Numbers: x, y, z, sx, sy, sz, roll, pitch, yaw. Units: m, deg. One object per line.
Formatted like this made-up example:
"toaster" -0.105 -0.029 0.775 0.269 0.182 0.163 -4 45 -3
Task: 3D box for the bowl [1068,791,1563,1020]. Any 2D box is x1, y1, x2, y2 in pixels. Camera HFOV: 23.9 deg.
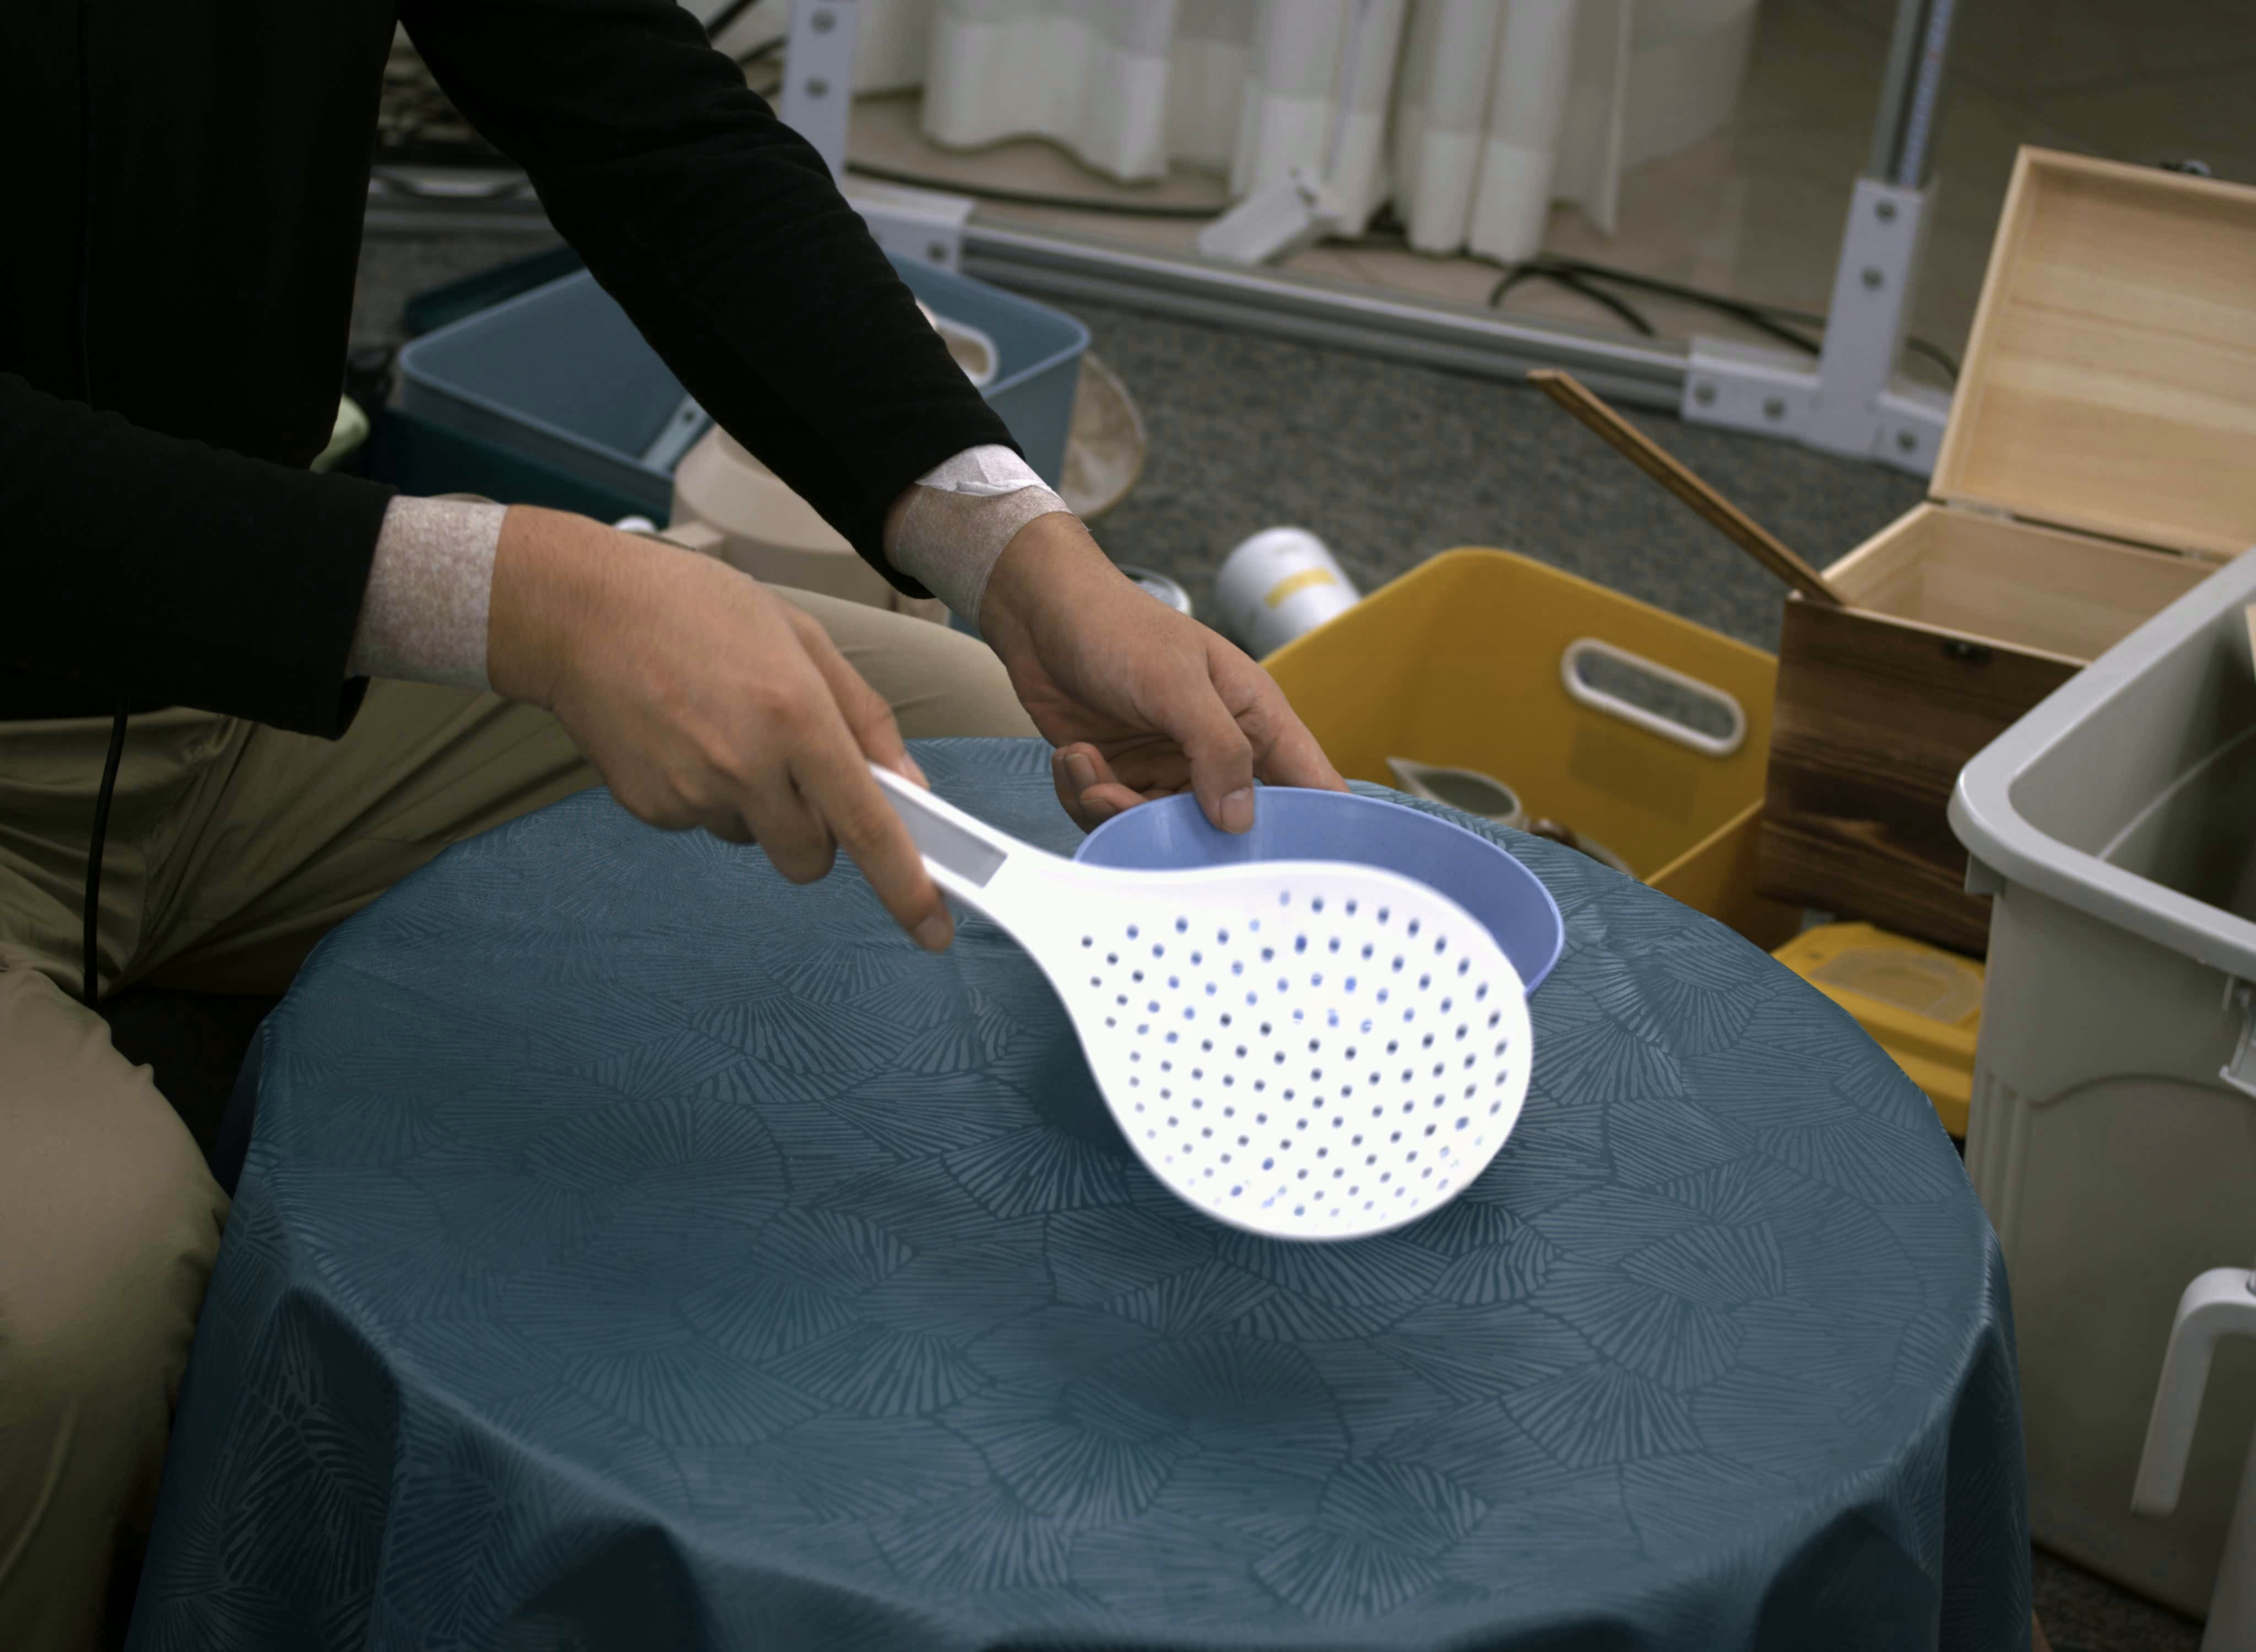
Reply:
"bowl" 0.062 0.054 1.874 0.175 0.070 0.177 5 26 -3

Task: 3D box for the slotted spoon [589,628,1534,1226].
"slotted spoon" -0.029 0.022 1.733 0.351 0.045 0.136 30 65 15
